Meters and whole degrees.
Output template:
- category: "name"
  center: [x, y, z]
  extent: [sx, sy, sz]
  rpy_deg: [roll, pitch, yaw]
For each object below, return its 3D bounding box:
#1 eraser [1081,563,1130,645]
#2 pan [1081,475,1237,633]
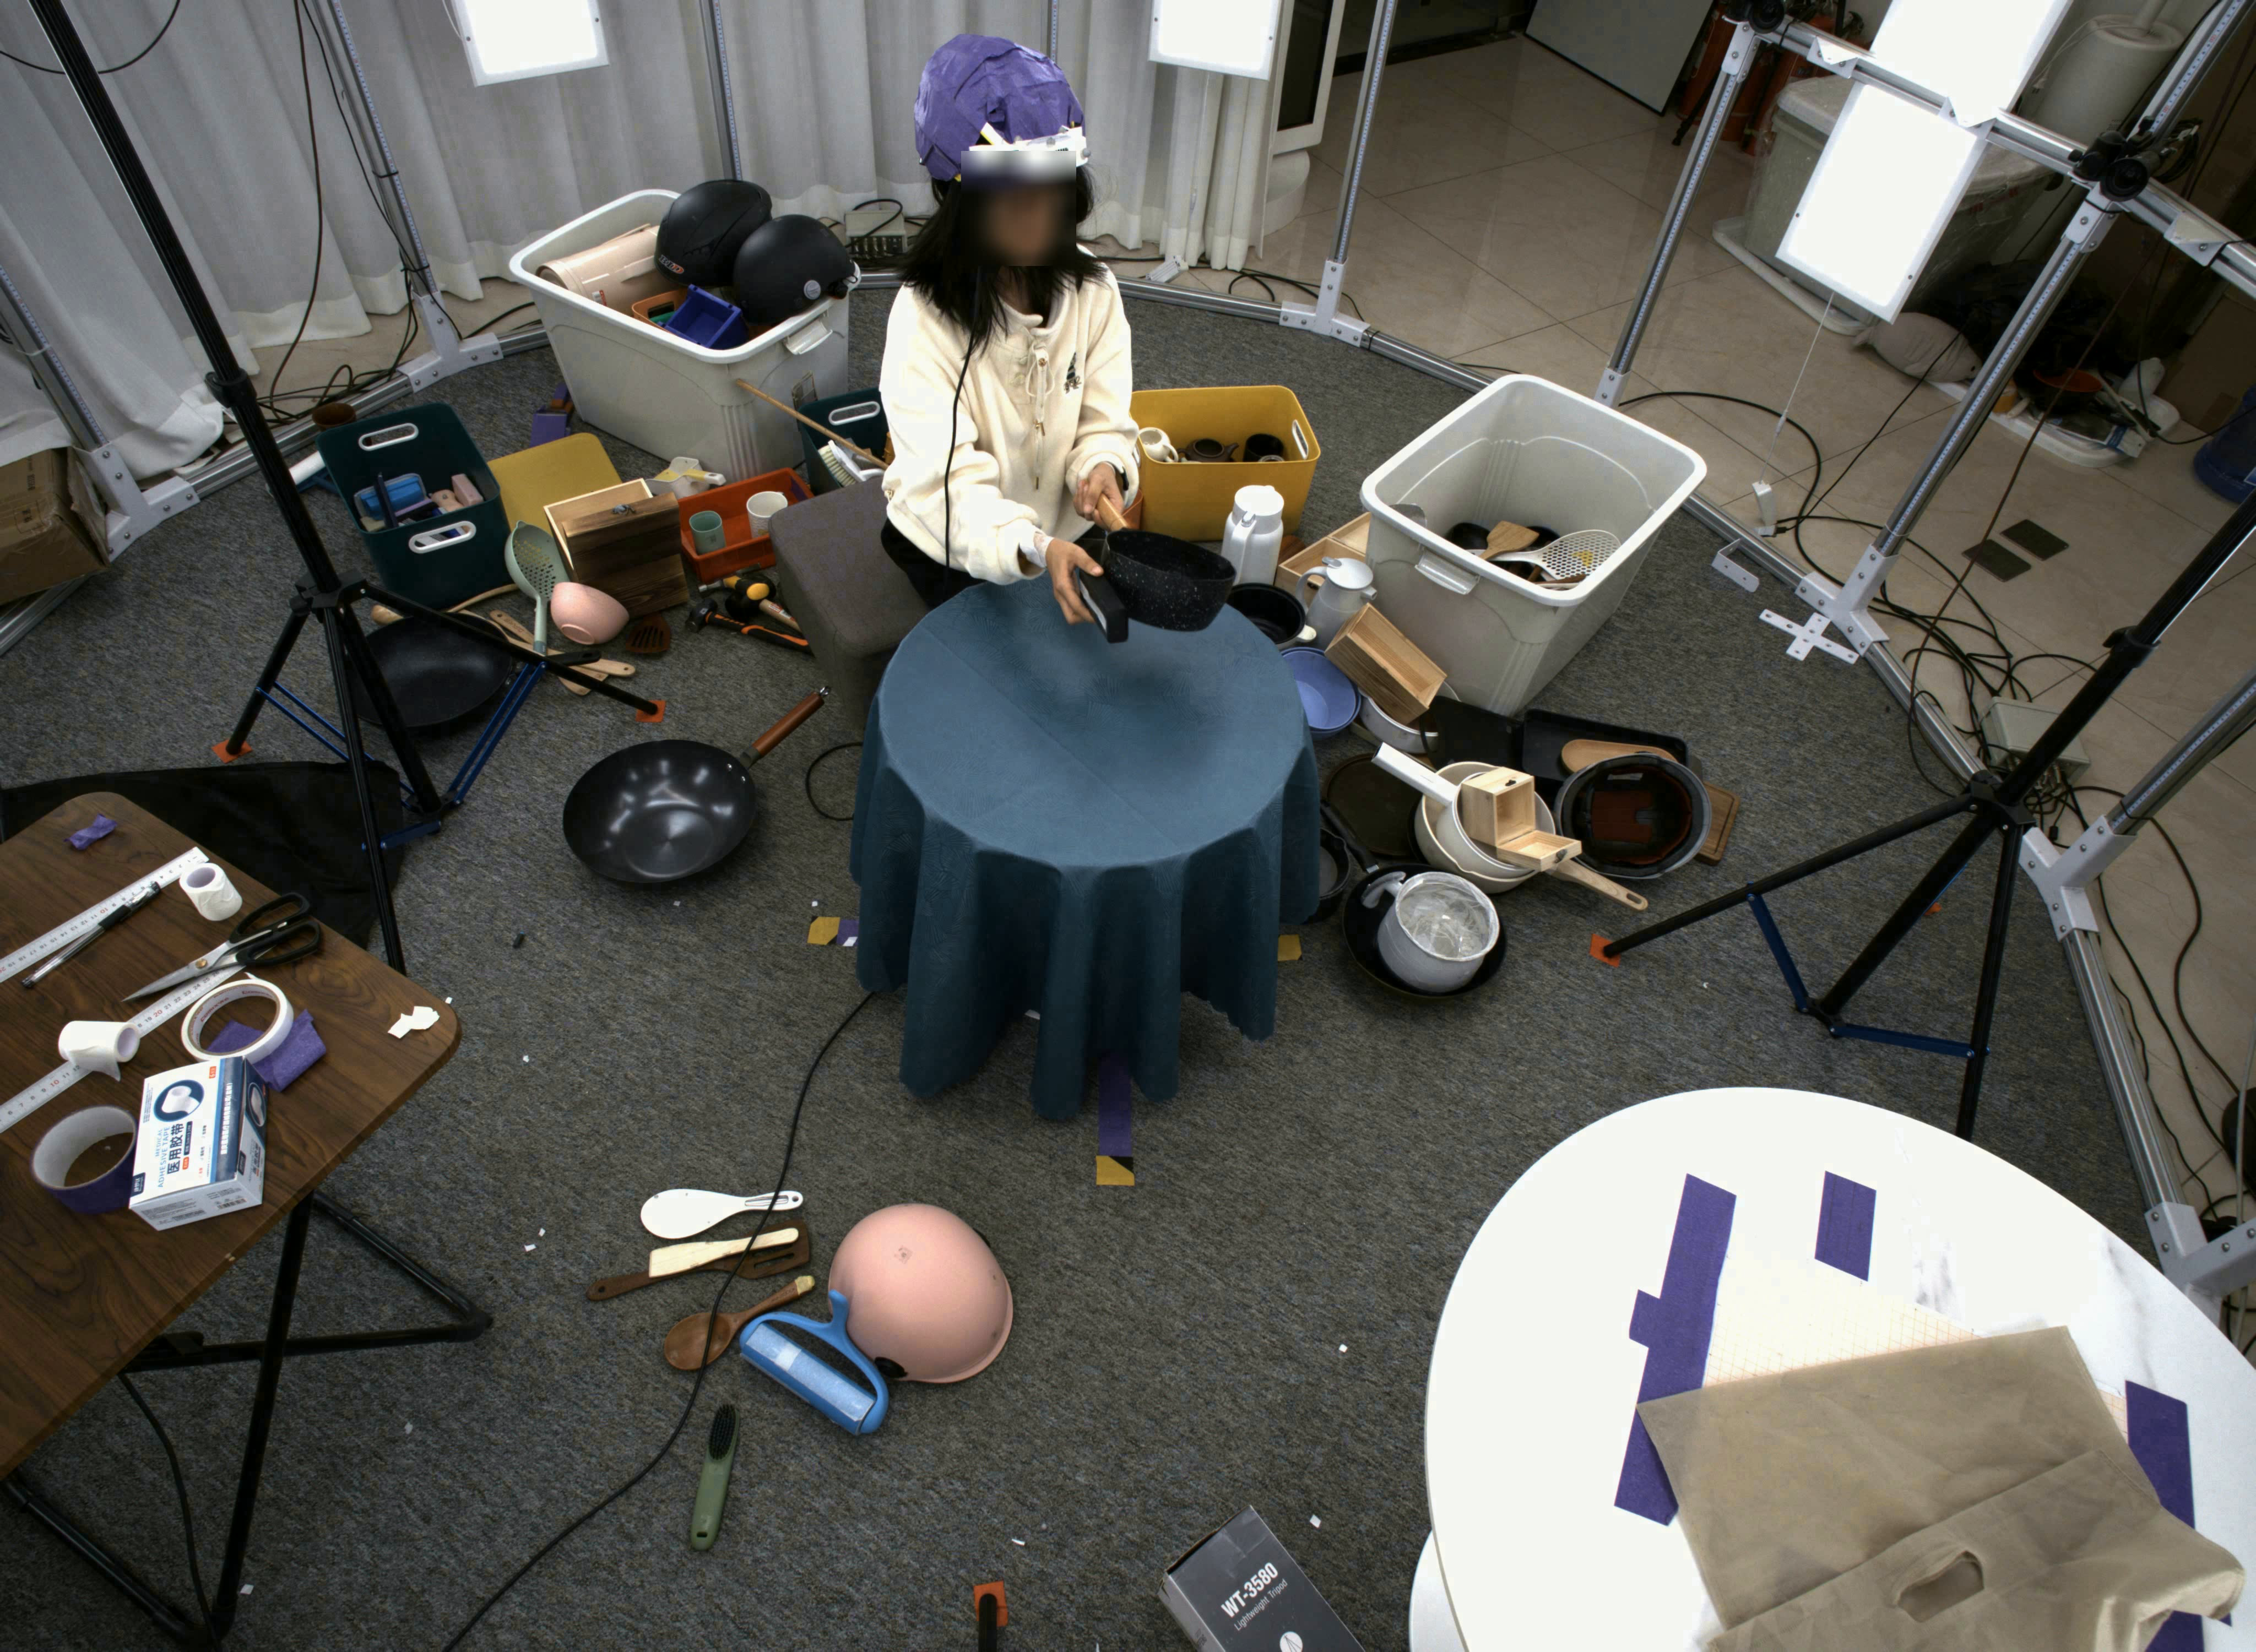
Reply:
- category: "eraser"
  center: [-0.031, -0.295, 1.696]
  extent: [0.030, 0.052, 0.128]
  rpy_deg: [-12, 42, -14]
- category: "pan"
  center: [0.010, -0.385, 1.813]
  extent: [0.207, 0.106, 0.350]
  rpy_deg: [-4, 34, -34]
